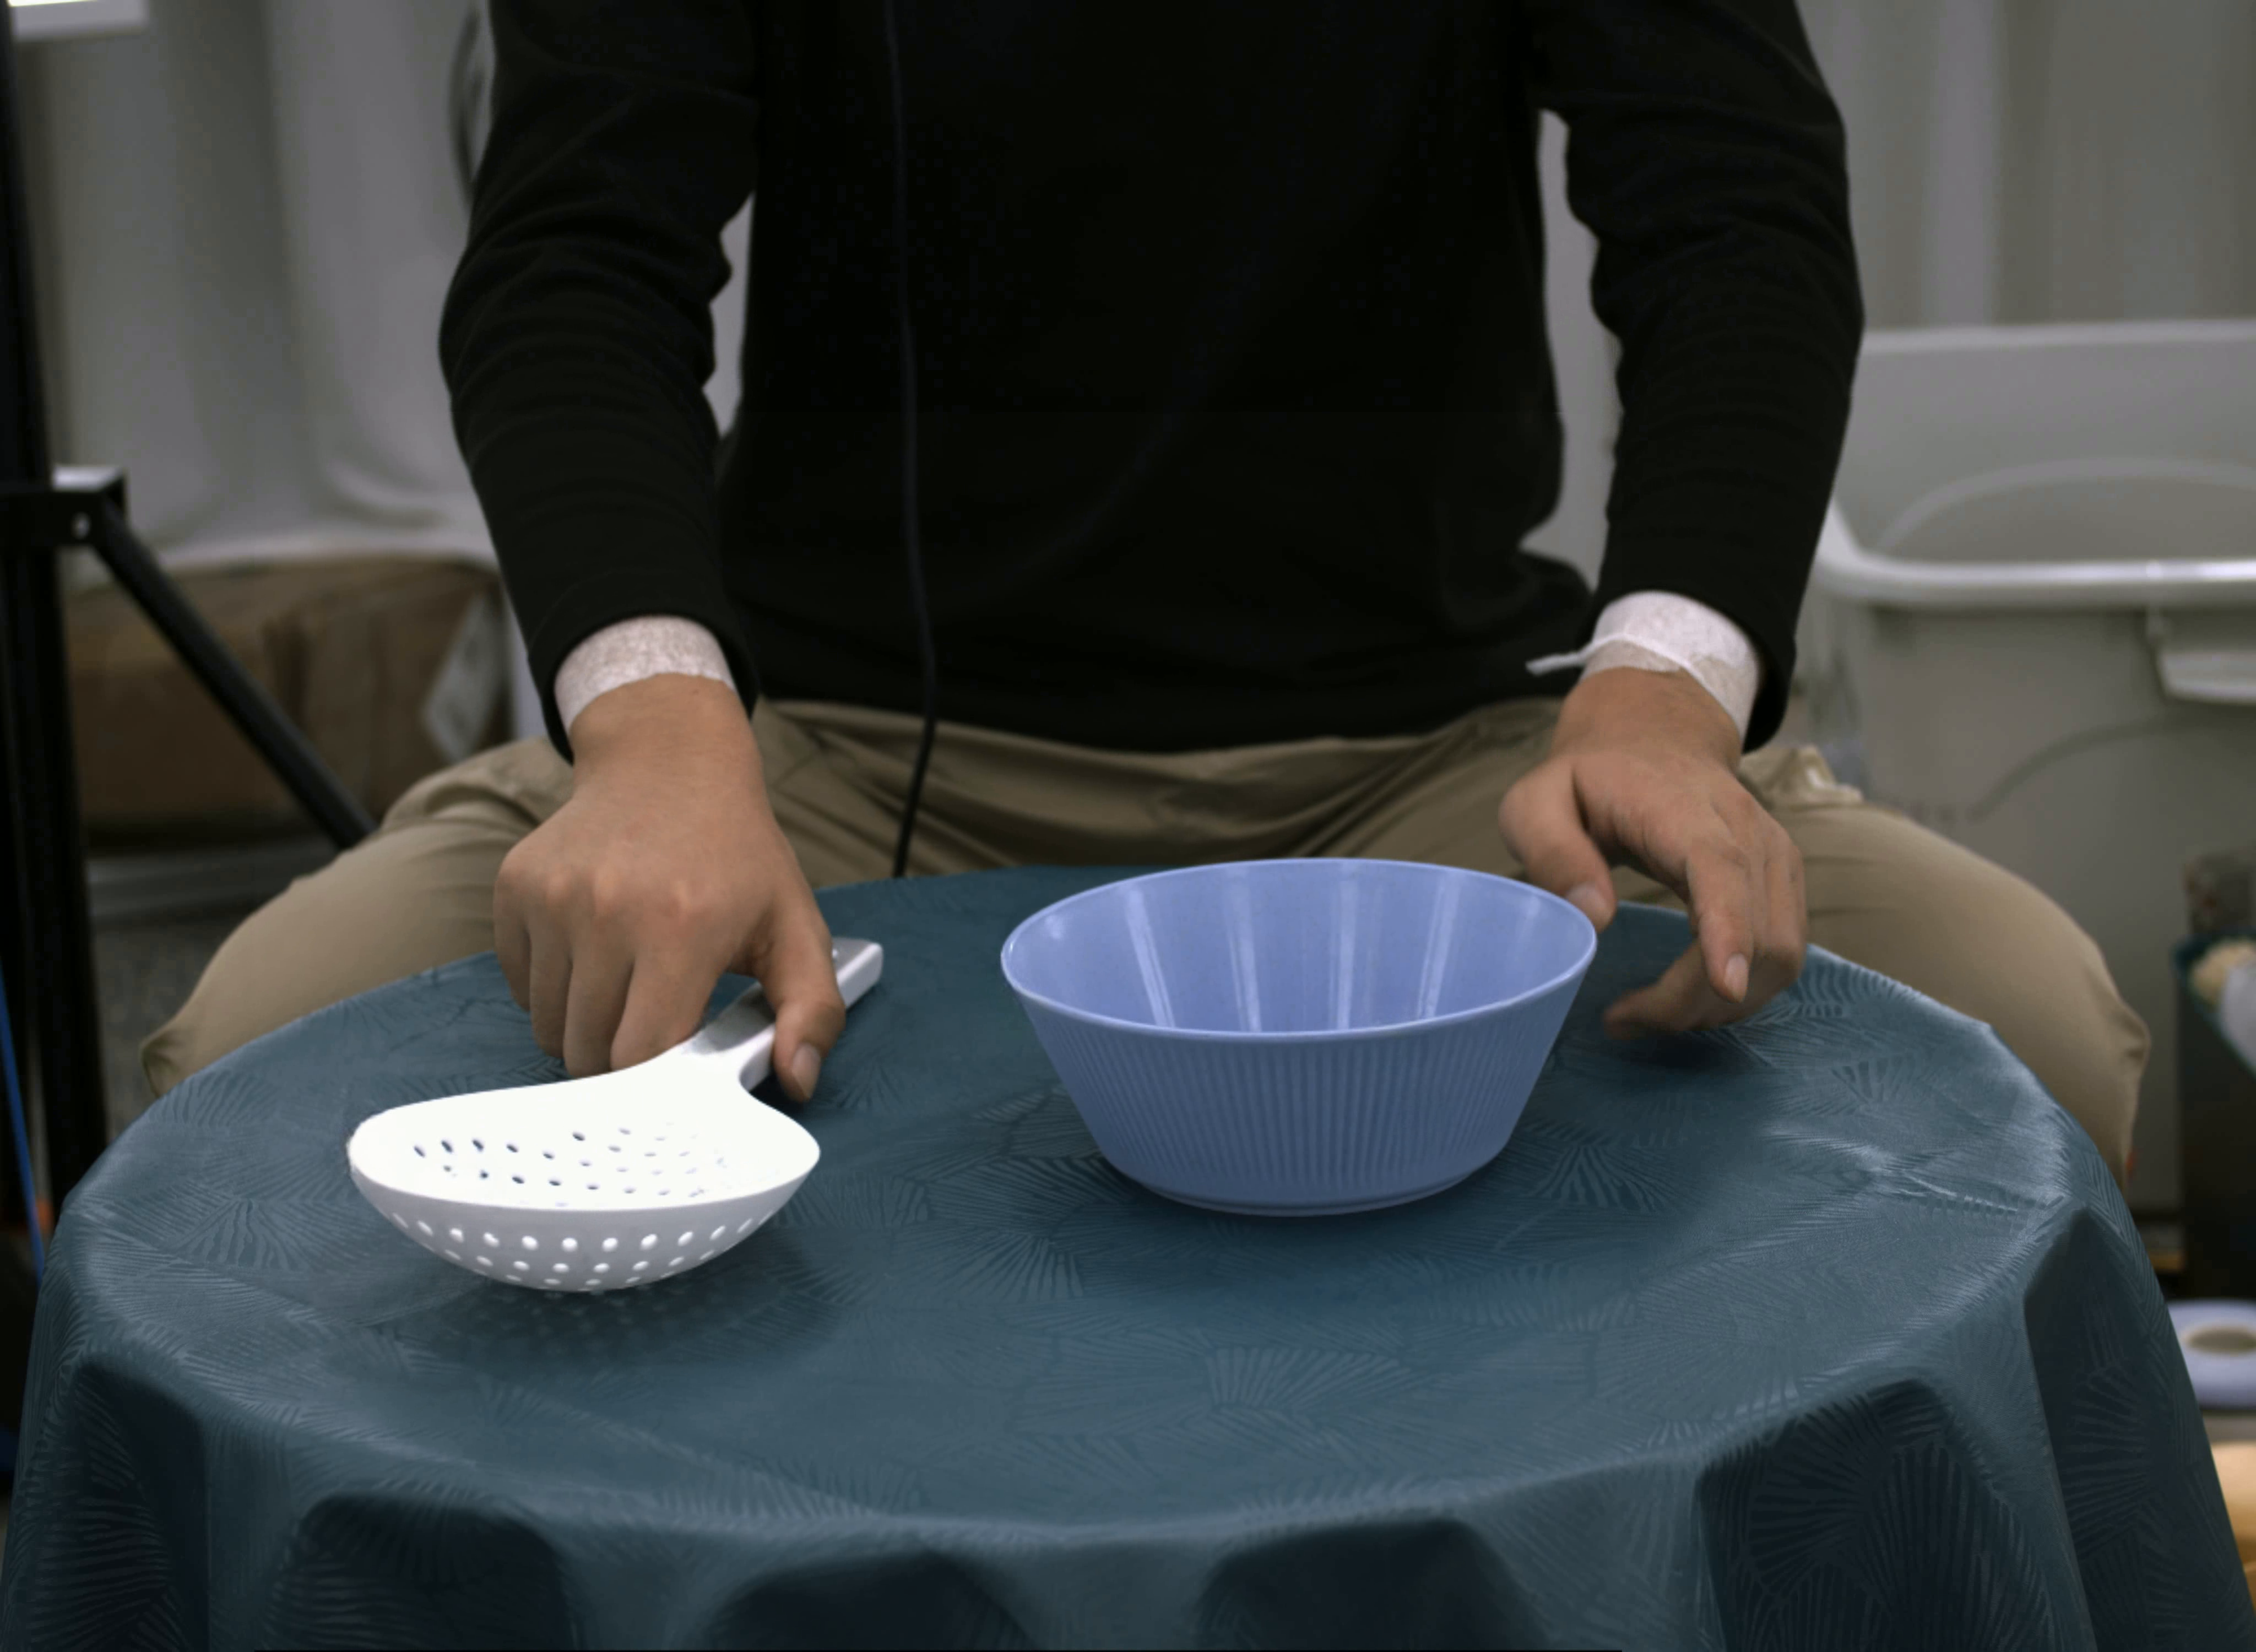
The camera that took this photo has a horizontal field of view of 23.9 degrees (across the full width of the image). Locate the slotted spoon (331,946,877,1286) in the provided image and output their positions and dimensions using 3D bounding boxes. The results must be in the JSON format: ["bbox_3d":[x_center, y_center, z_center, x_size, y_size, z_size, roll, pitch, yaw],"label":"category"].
[{"bbox_3d":[-0.133,0.077,1.604,0.137,0.046,0.347,2,15,13],"label":"slotted spoon"}]

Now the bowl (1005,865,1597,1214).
[{"bbox_3d":[0.052,0.065,1.572,0.175,0.070,0.177,-3,14,-1],"label":"bowl"}]
